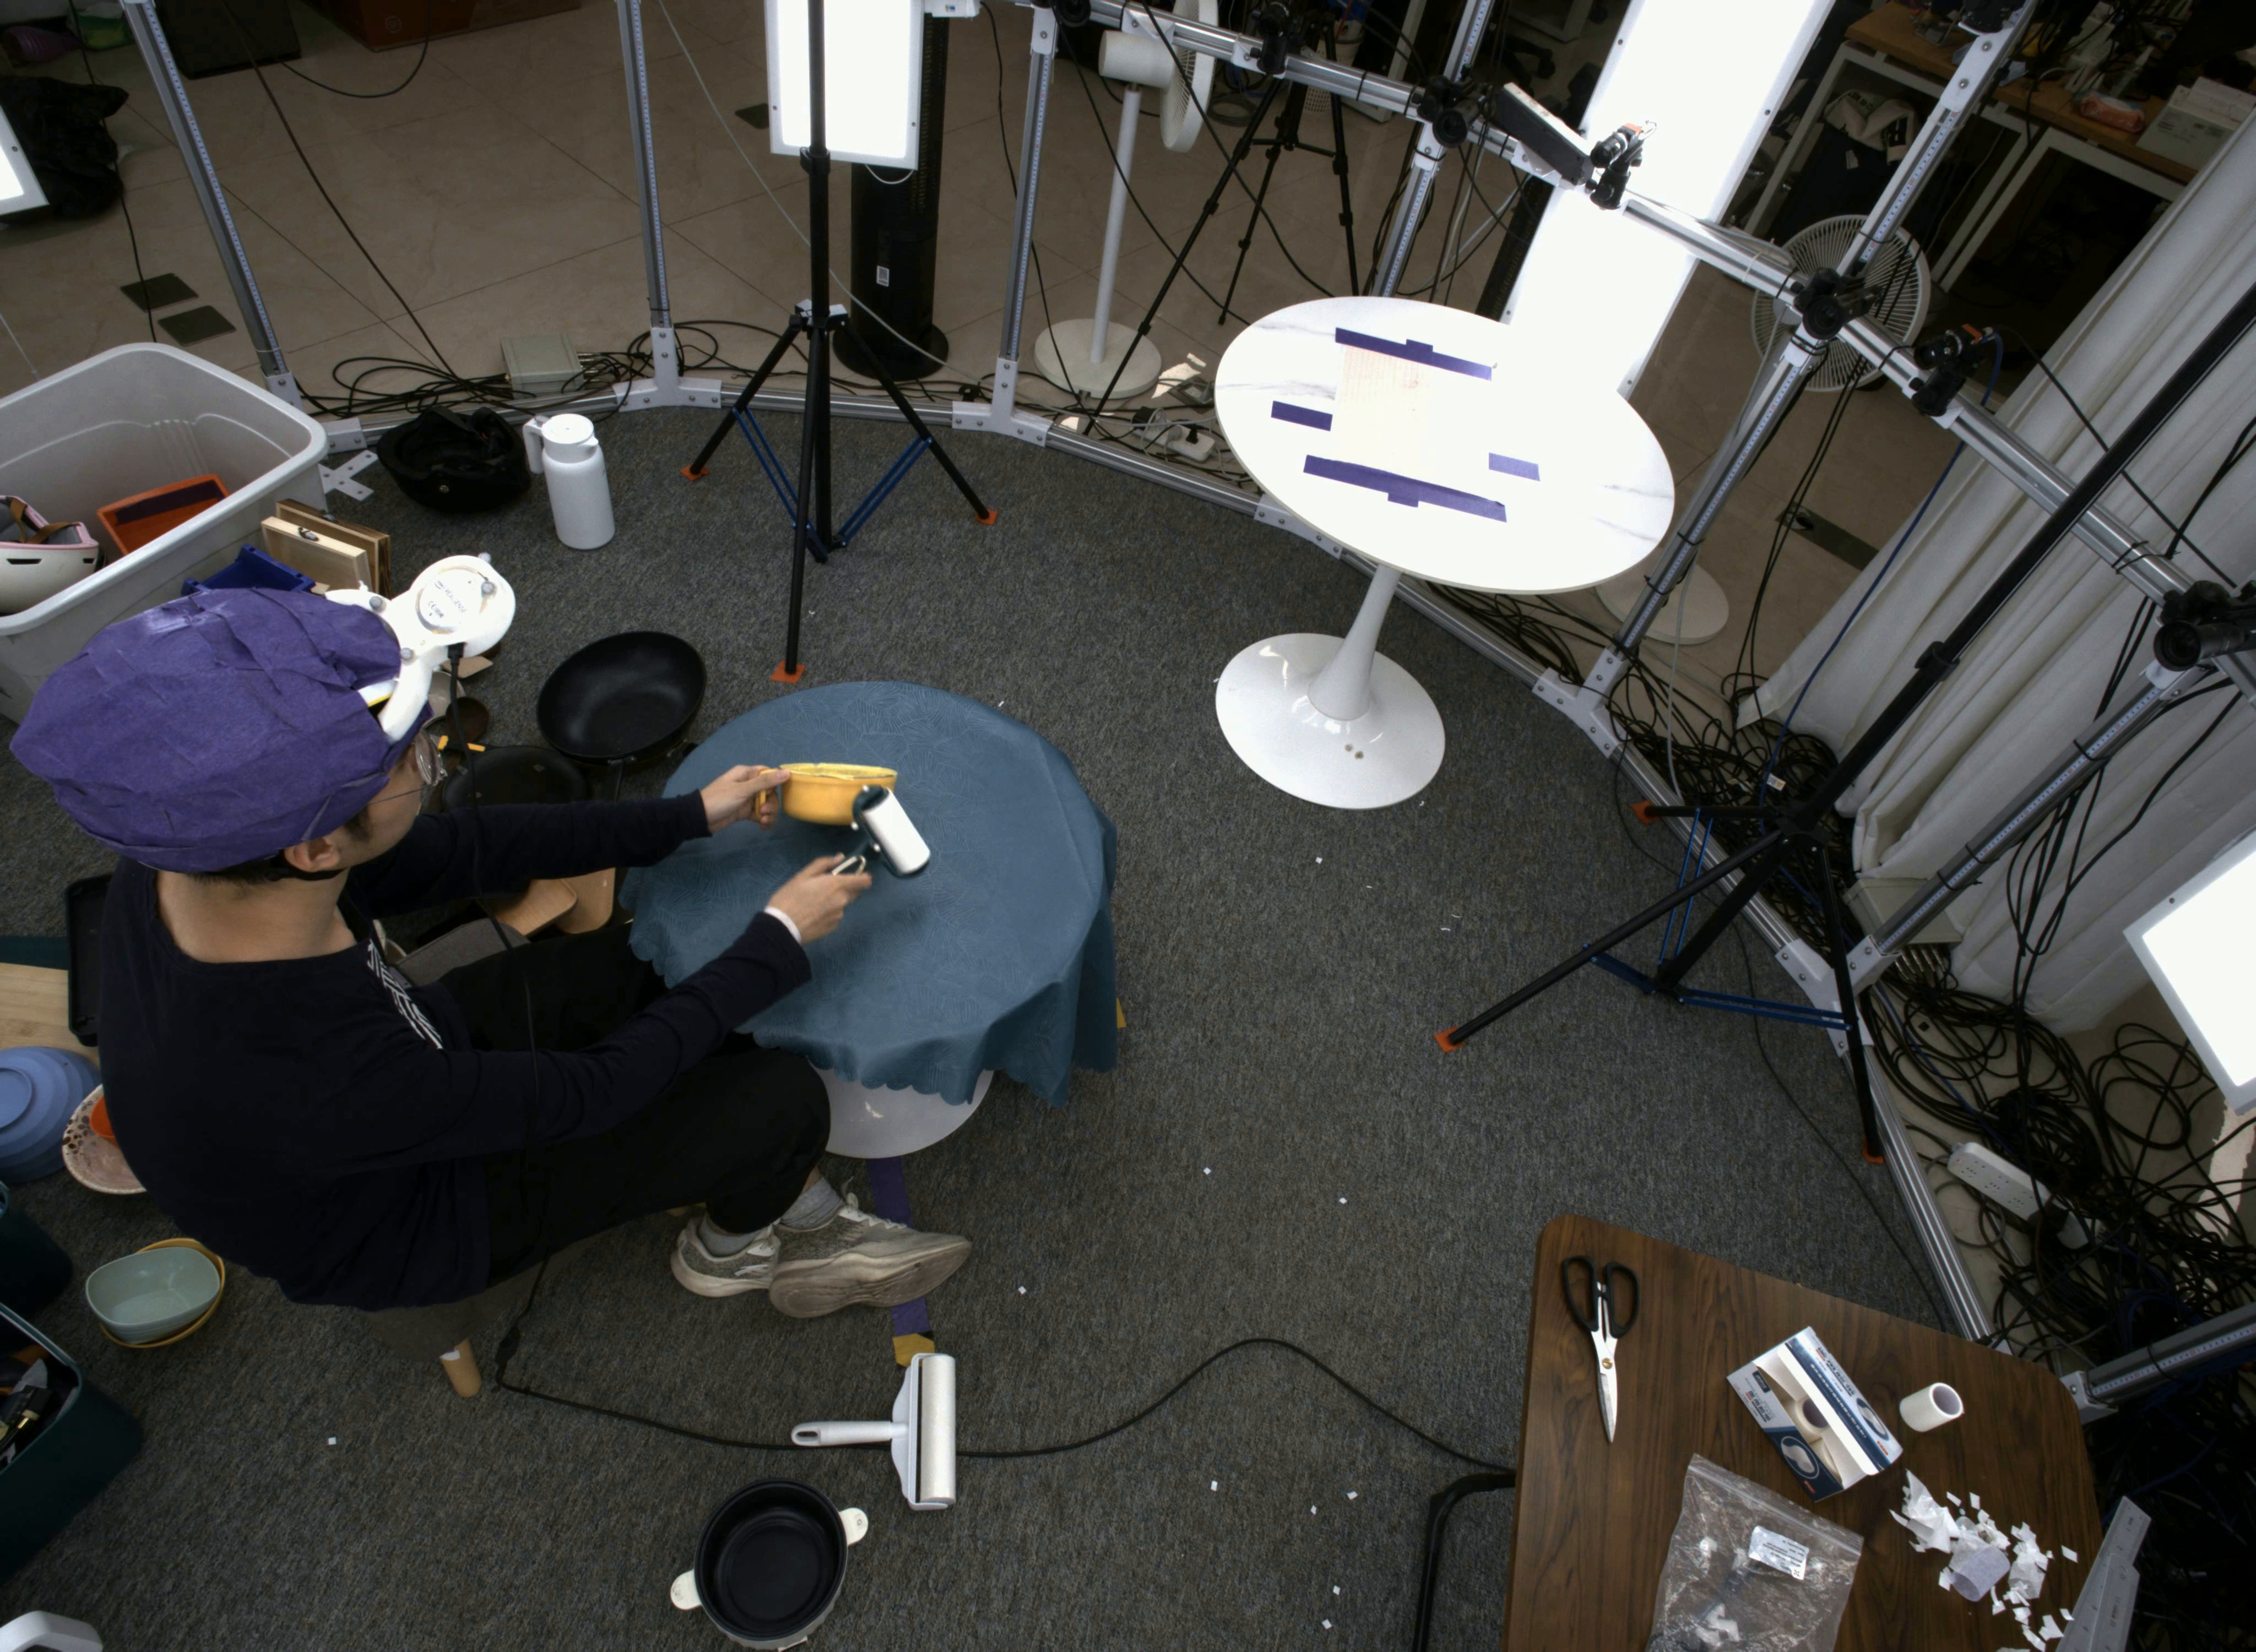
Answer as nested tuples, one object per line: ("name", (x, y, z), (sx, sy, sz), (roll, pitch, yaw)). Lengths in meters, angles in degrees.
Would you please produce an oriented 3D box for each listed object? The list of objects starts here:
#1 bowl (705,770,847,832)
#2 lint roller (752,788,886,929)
("bowl", (-0.453, -0.035, 1.668), (0.182, 0.076, 0.147), (-4, 11, -37))
("lint roller", (-0.384, 0.058, 1.579), (0.046, 0.139, 0.180), (11, 51, 43))
